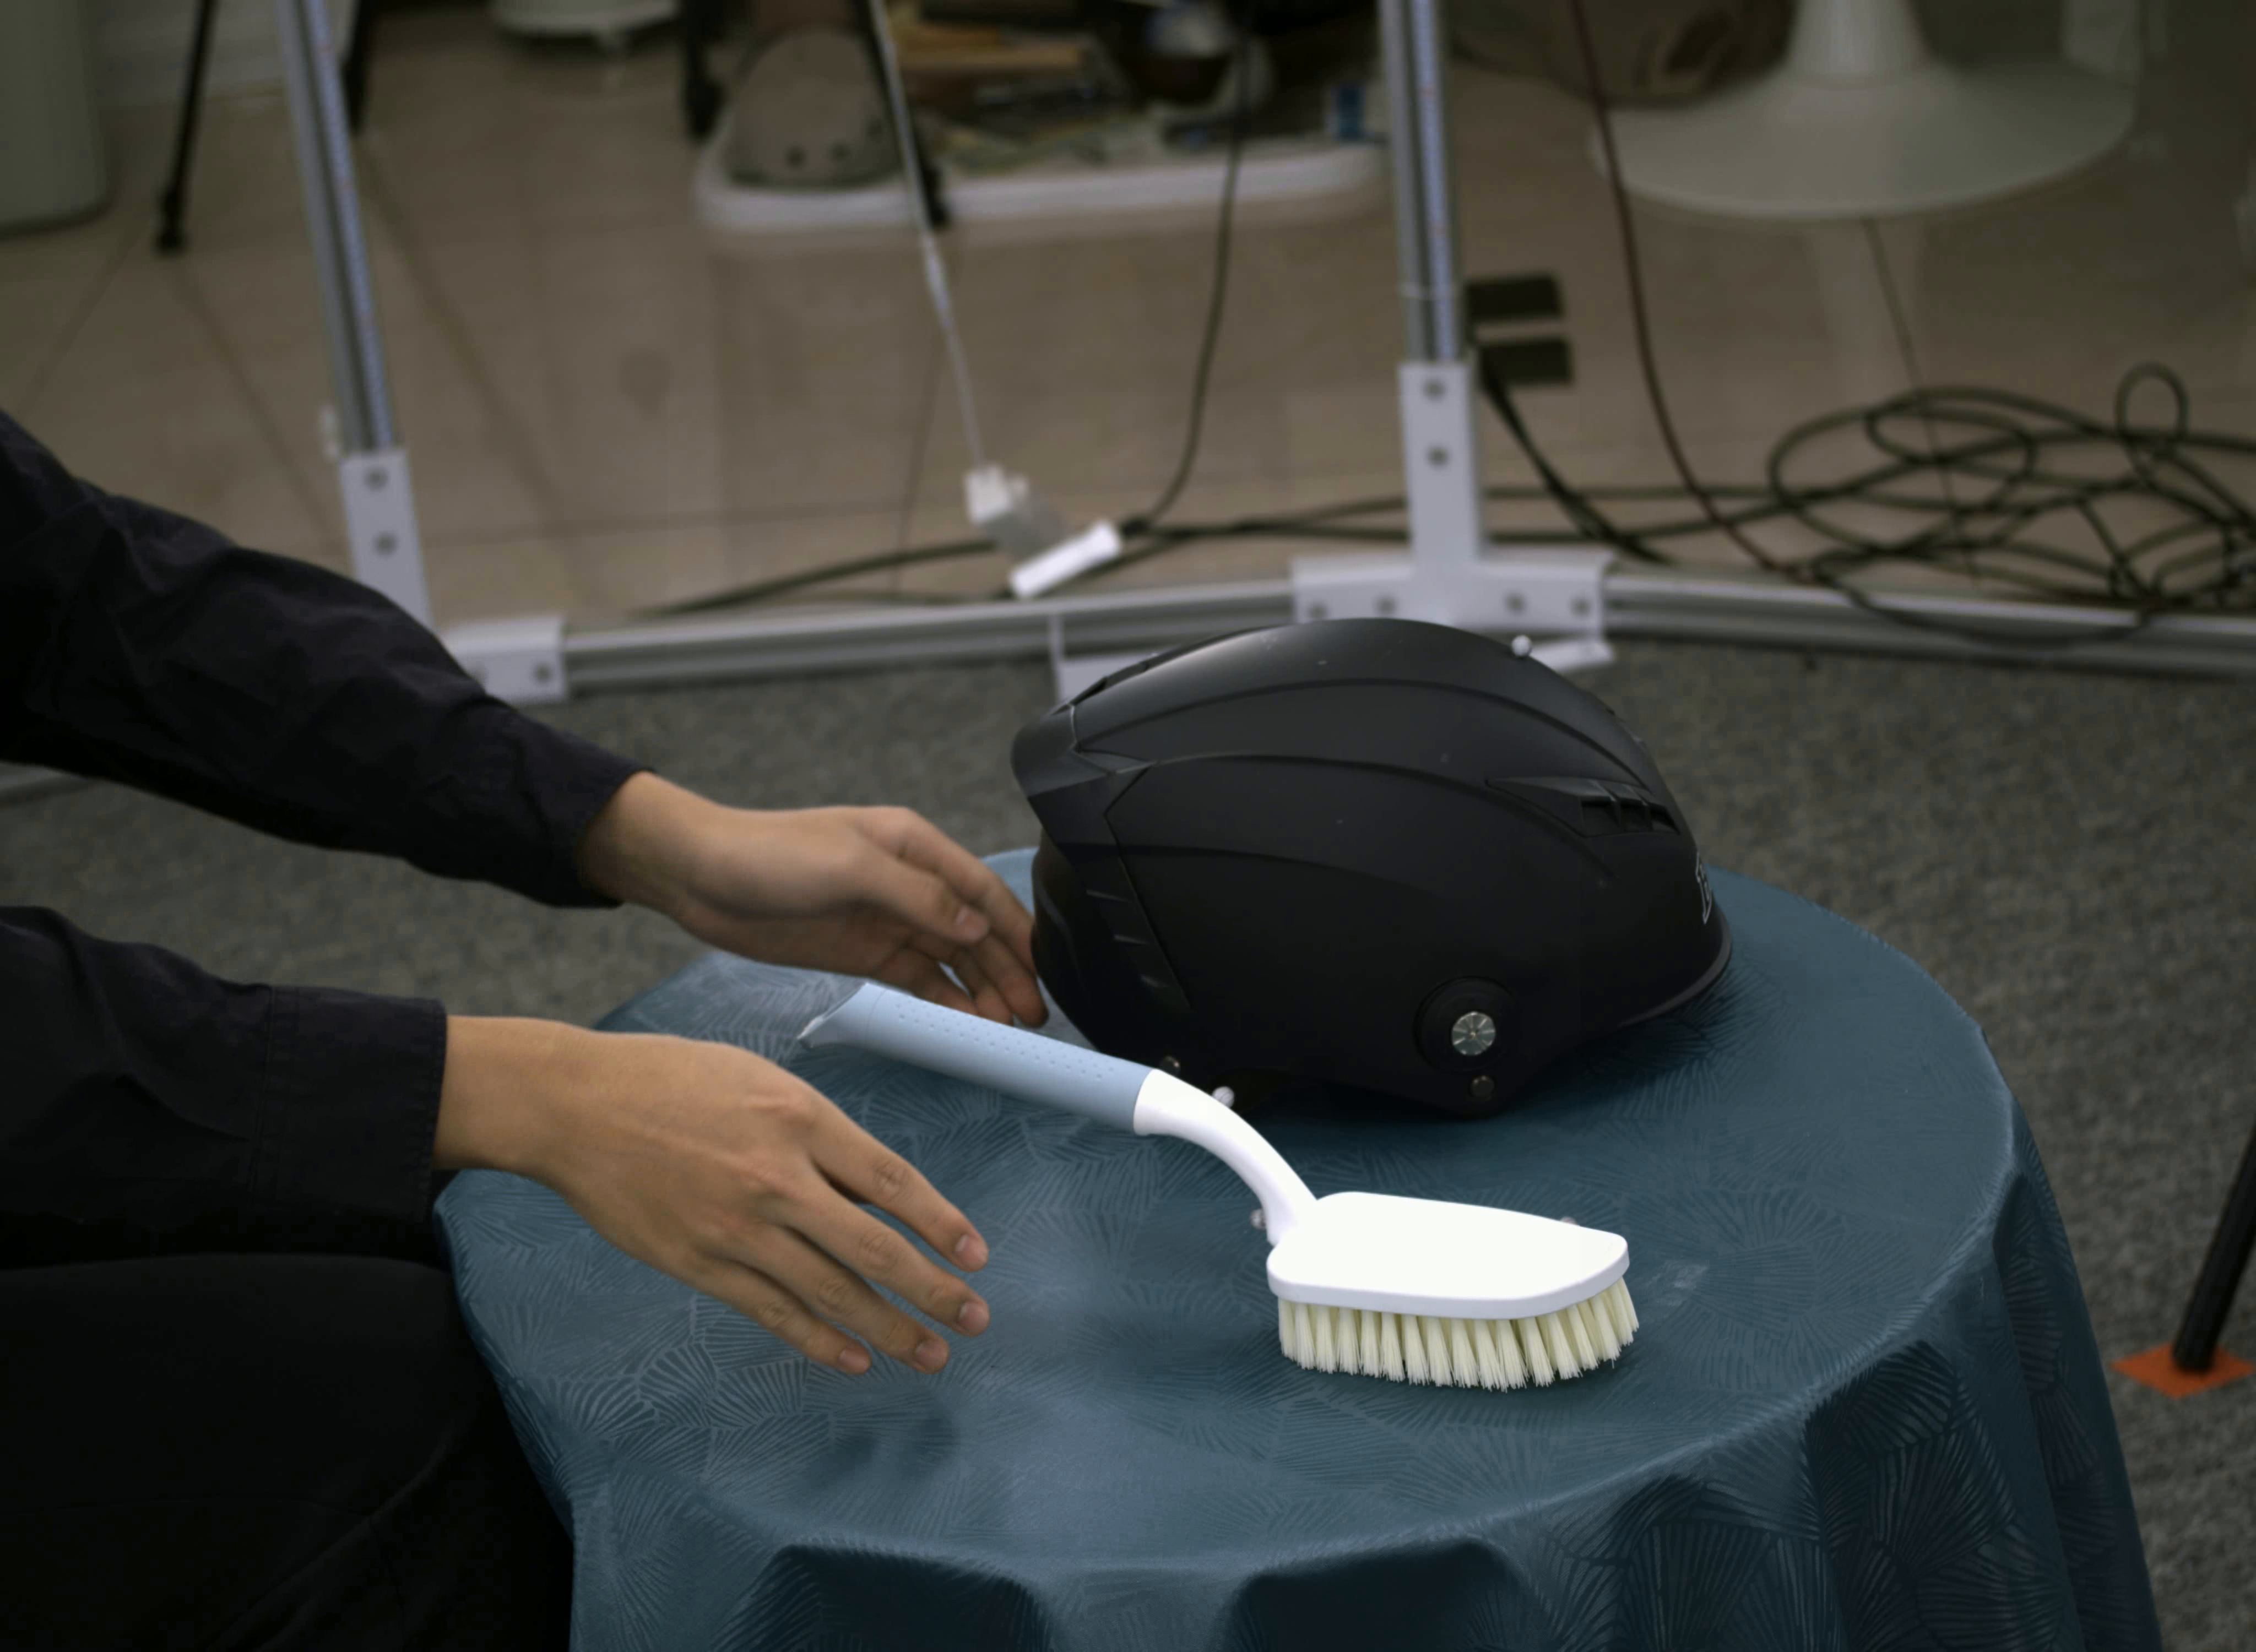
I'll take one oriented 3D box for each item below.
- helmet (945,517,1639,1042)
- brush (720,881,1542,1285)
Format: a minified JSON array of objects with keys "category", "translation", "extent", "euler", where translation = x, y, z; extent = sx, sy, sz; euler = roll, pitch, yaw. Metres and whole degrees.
[{"category":"helmet","translation":[0.064,-0.035,2.250],"extent":[0.276,0.175,0.243],"euler":[-3,27,0]},{"category":"brush","translation":[-0.003,0.104,2.071],"extent":[0.324,0.084,0.083],"euler":[17,-5,17]}]
